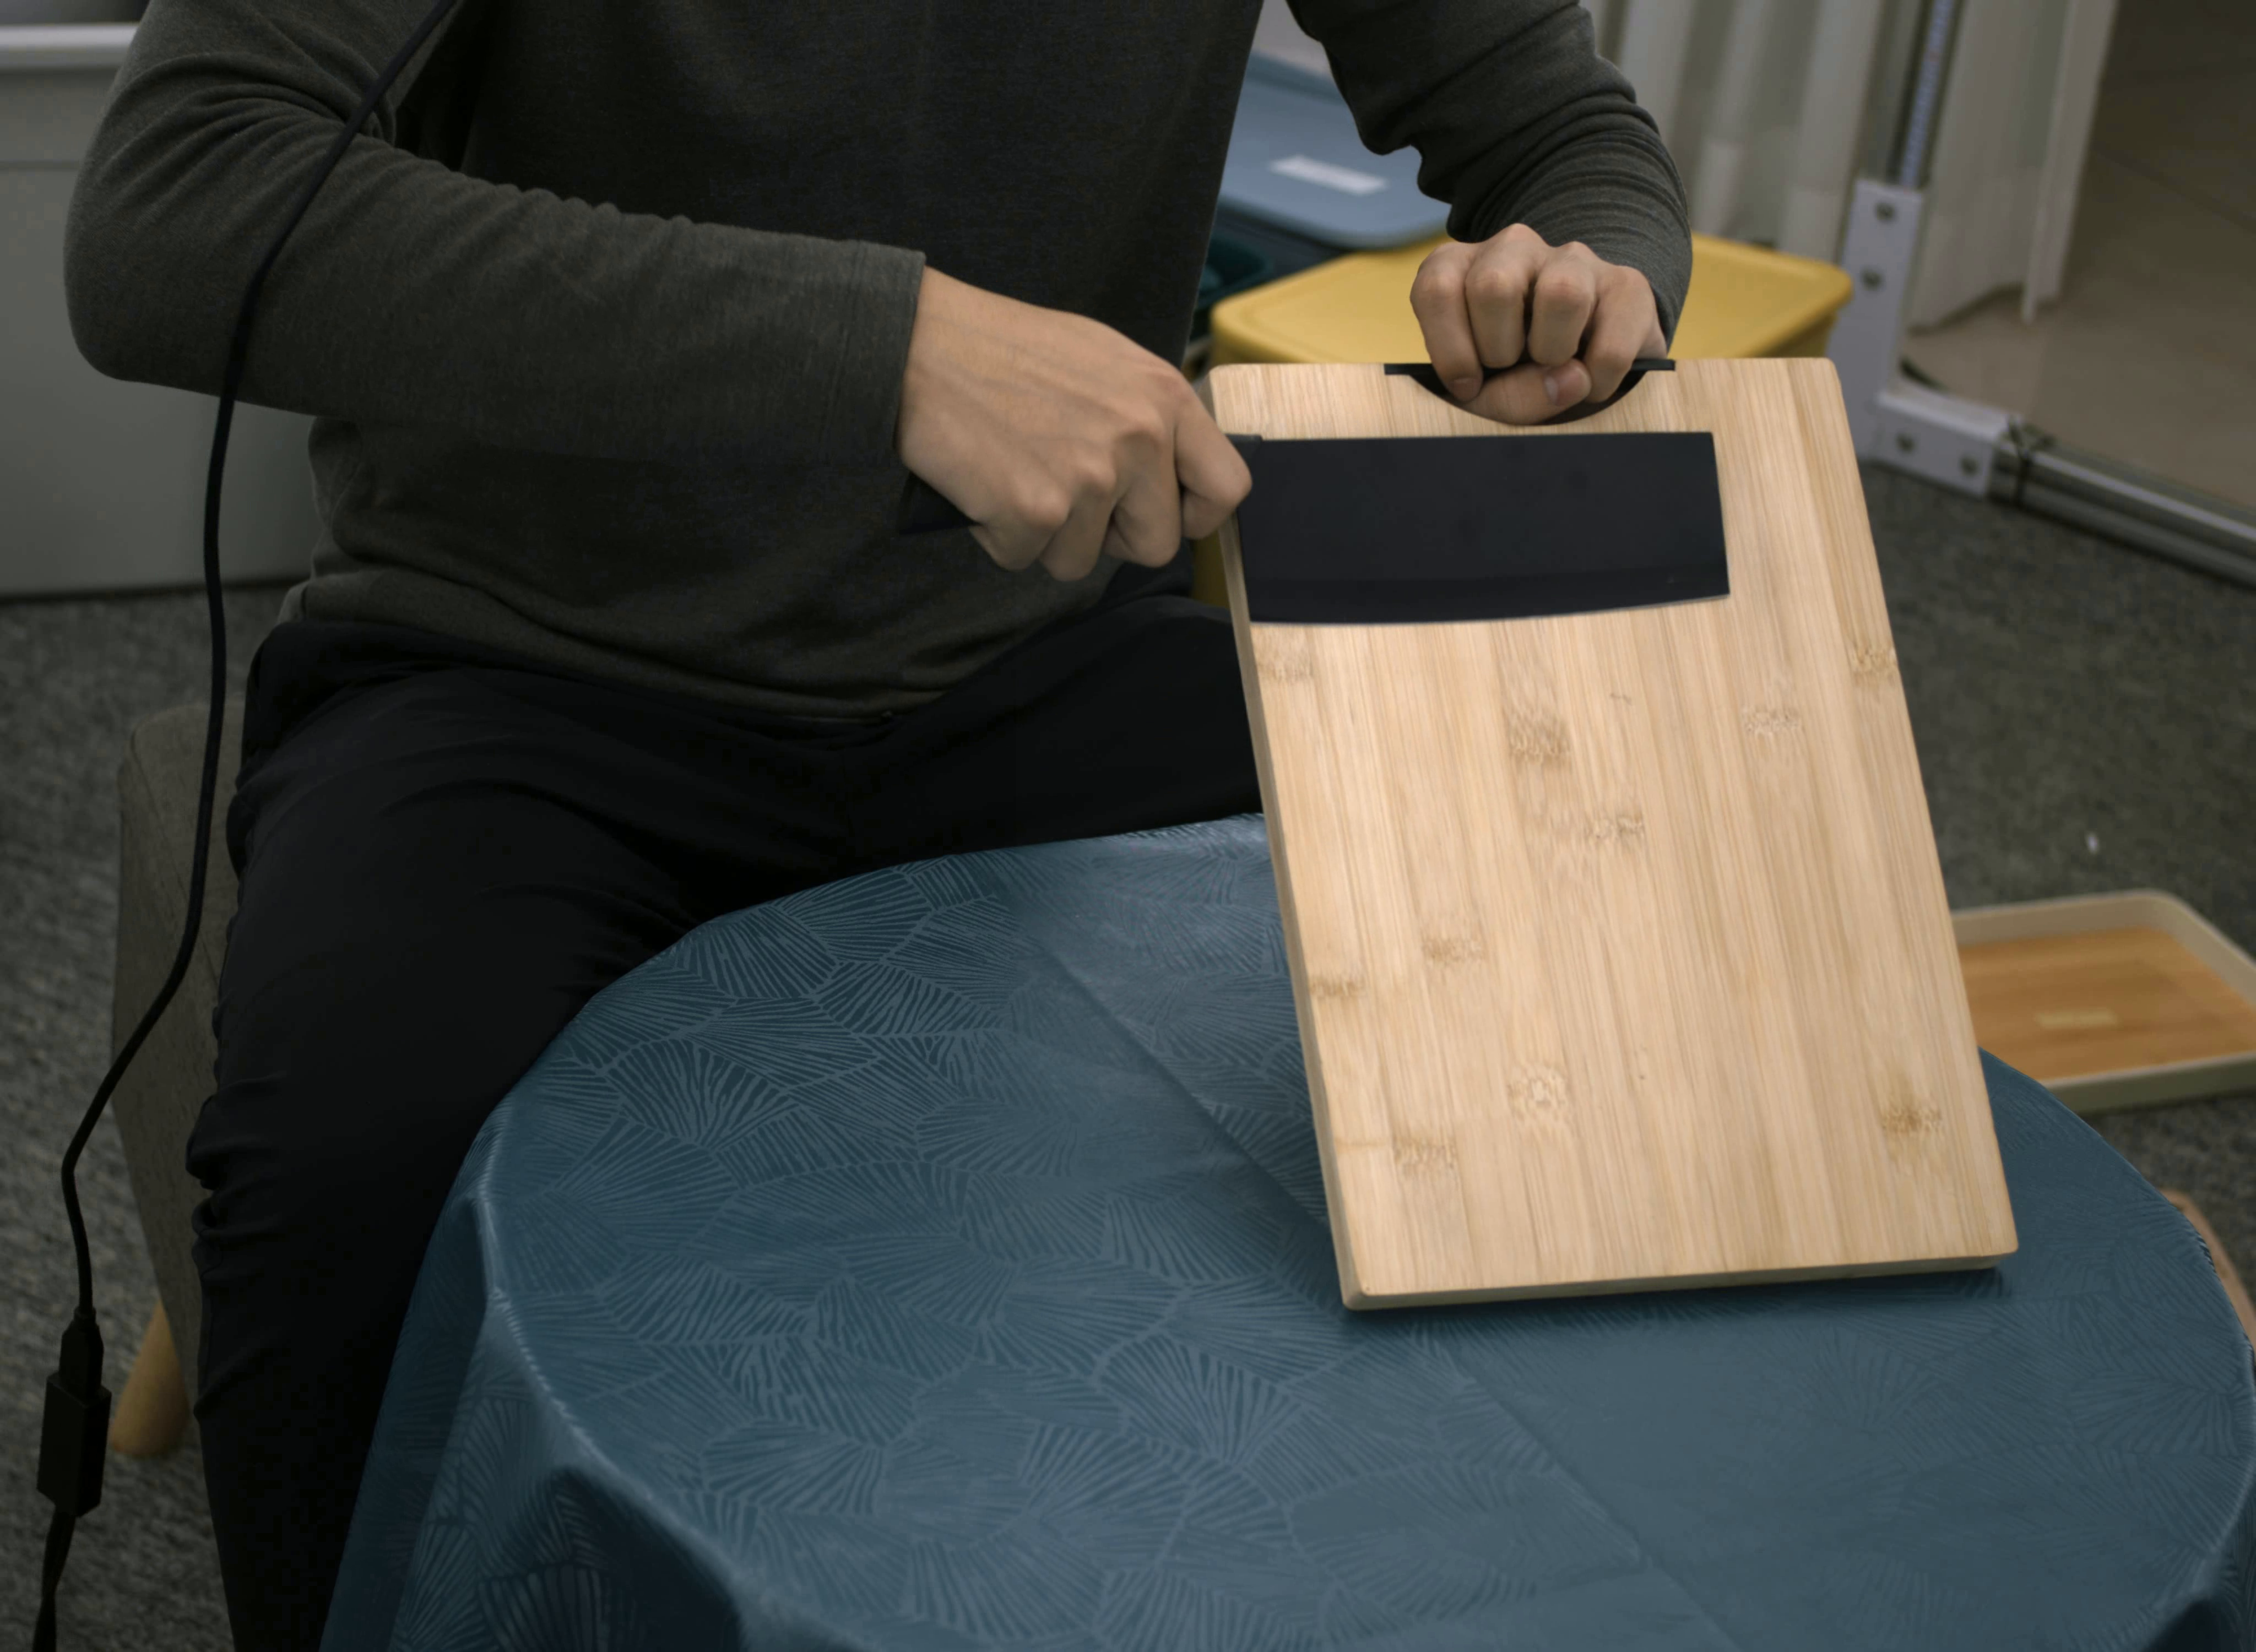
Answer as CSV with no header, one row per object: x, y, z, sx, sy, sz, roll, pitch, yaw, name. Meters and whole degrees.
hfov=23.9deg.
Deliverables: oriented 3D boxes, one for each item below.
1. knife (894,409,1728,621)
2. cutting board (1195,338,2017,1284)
0.066,-0.109,1.838,0.300,0.081,0.021,2,-13,-15,knife
0.162,-0.010,1.841,0.249,0.023,0.351,-3,68,-17,cutting board
